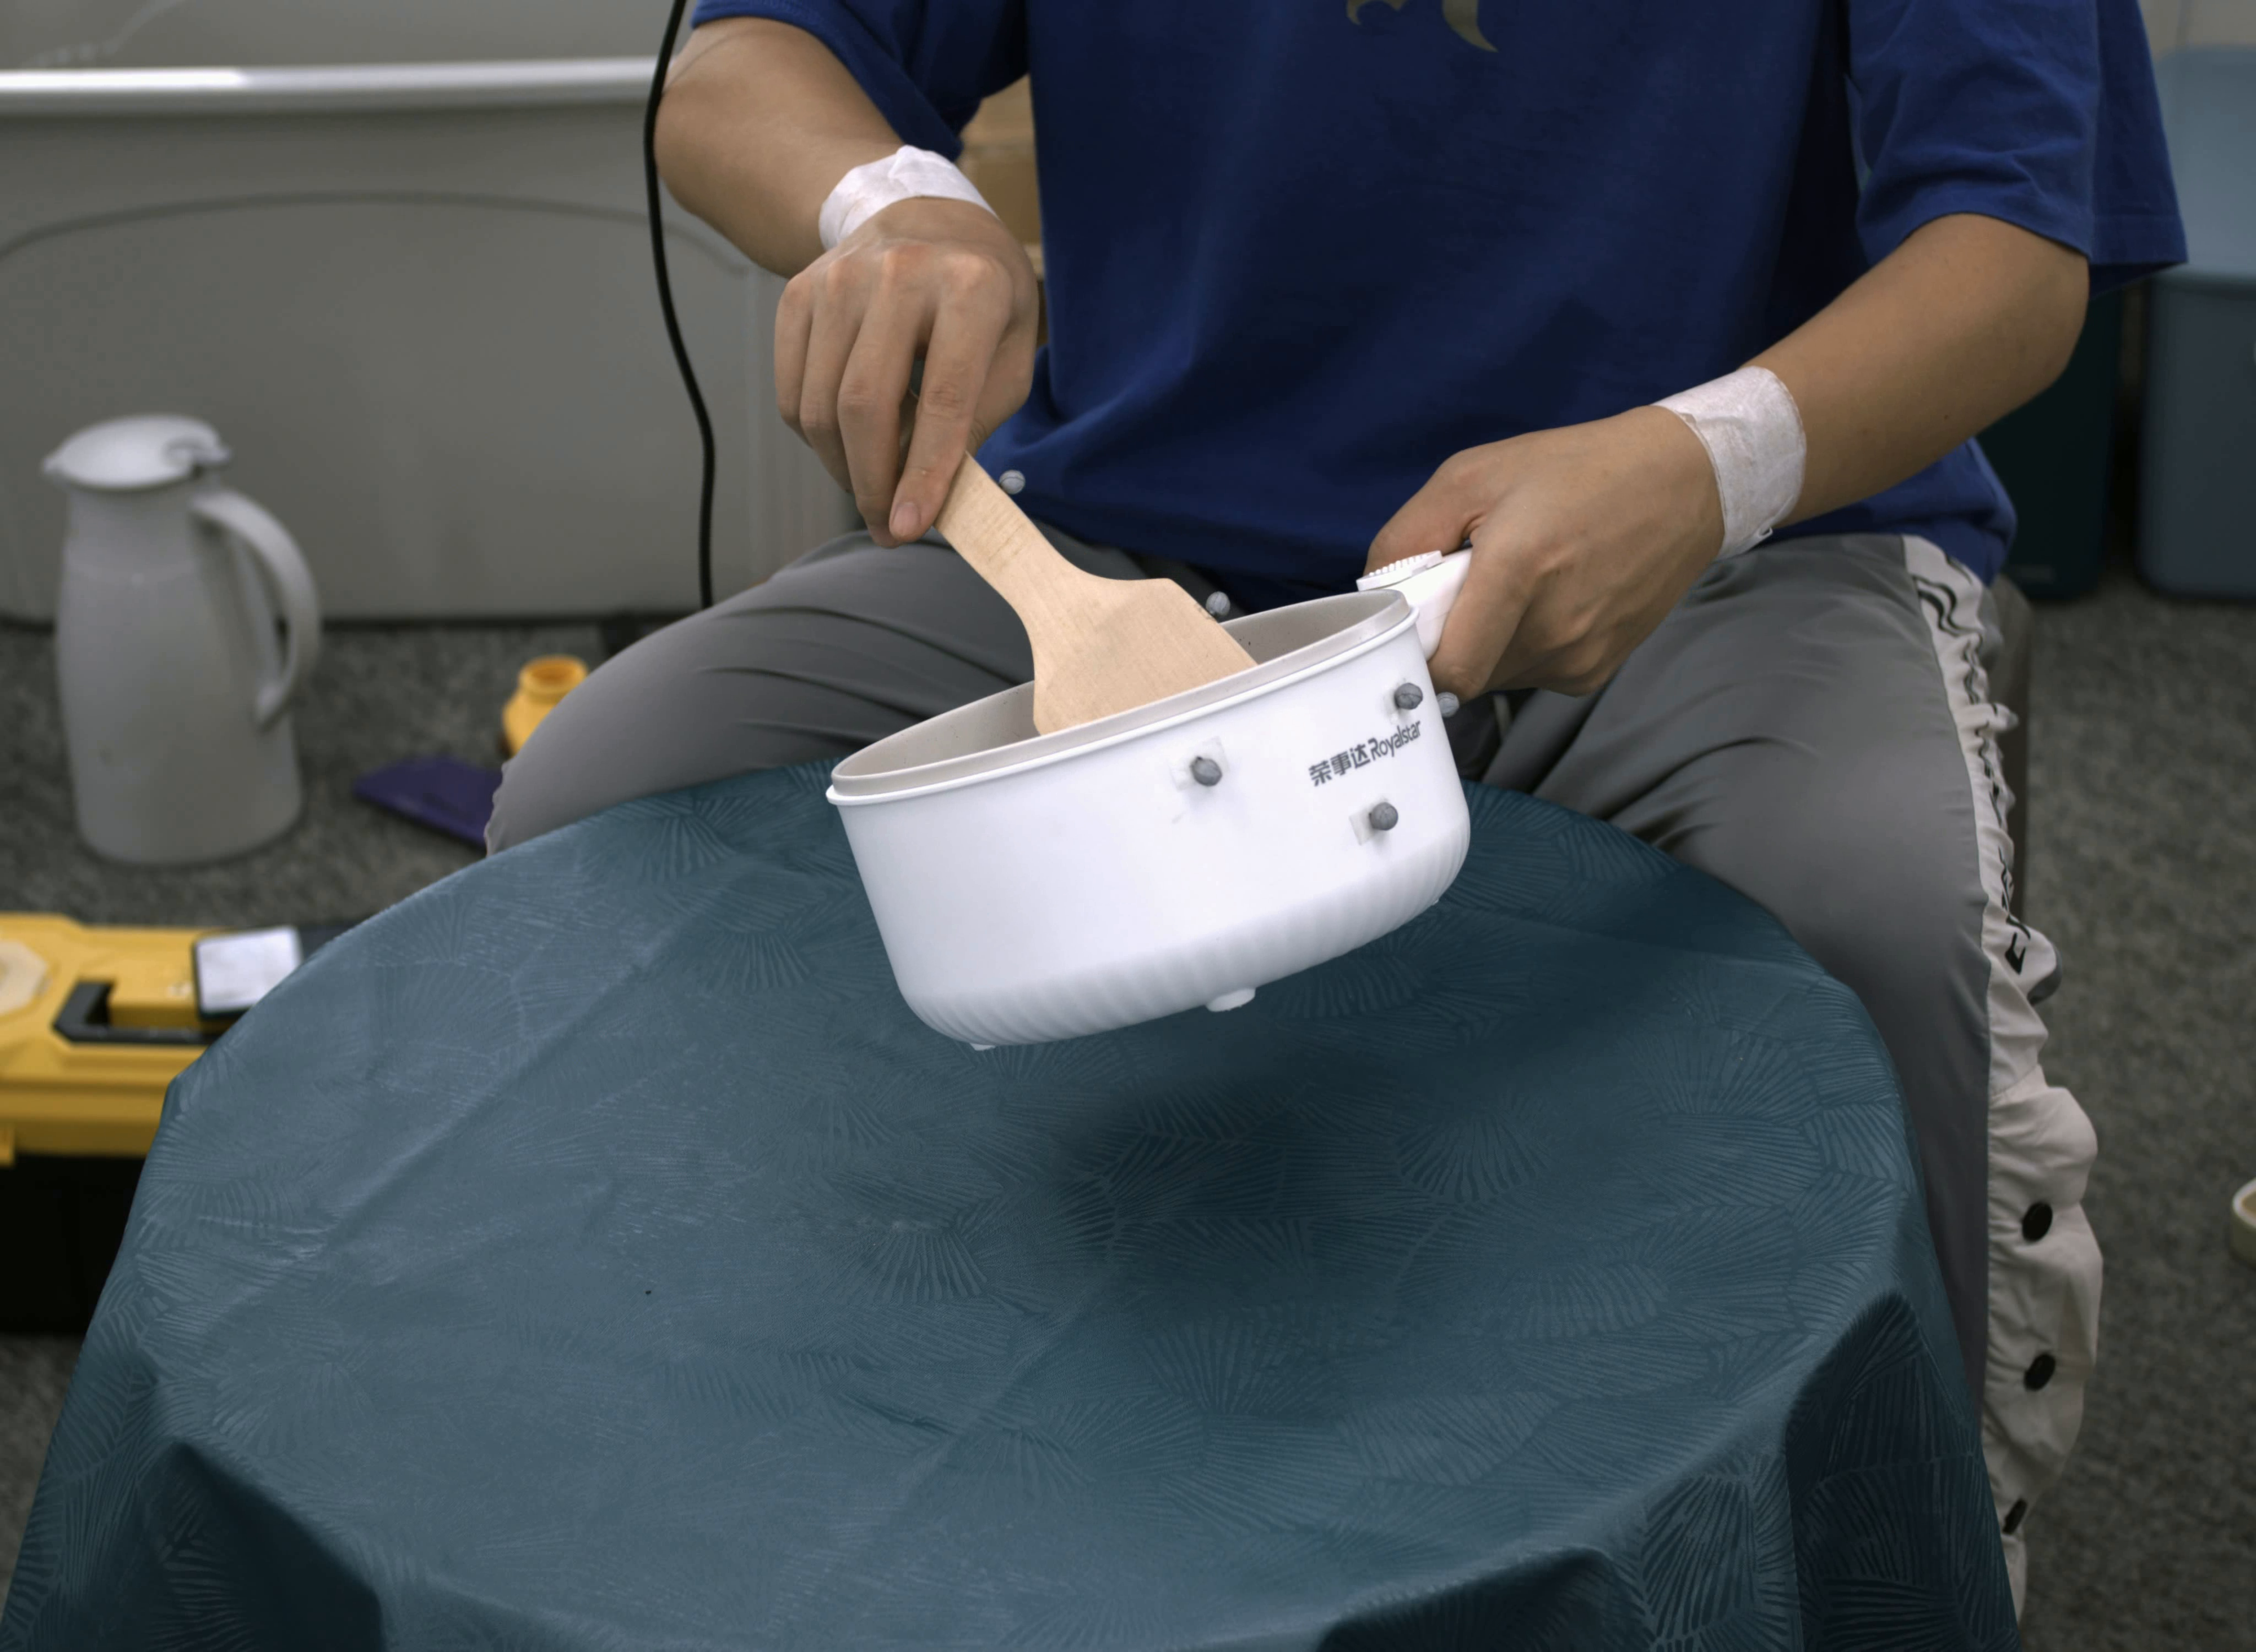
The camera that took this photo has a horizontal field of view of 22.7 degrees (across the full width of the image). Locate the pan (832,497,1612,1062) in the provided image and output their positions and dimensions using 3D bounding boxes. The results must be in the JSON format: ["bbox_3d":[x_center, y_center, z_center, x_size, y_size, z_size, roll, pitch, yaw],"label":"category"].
[{"bbox_3d":[0.059,-0.019,1.882,0.198,0.102,0.359,-15,7,40],"label":"pan"}]

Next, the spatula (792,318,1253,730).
[{"bbox_3d":[-0.041,-0.096,1.917,0.072,0.010,0.295,-46,47,5],"label":"spatula"}]
